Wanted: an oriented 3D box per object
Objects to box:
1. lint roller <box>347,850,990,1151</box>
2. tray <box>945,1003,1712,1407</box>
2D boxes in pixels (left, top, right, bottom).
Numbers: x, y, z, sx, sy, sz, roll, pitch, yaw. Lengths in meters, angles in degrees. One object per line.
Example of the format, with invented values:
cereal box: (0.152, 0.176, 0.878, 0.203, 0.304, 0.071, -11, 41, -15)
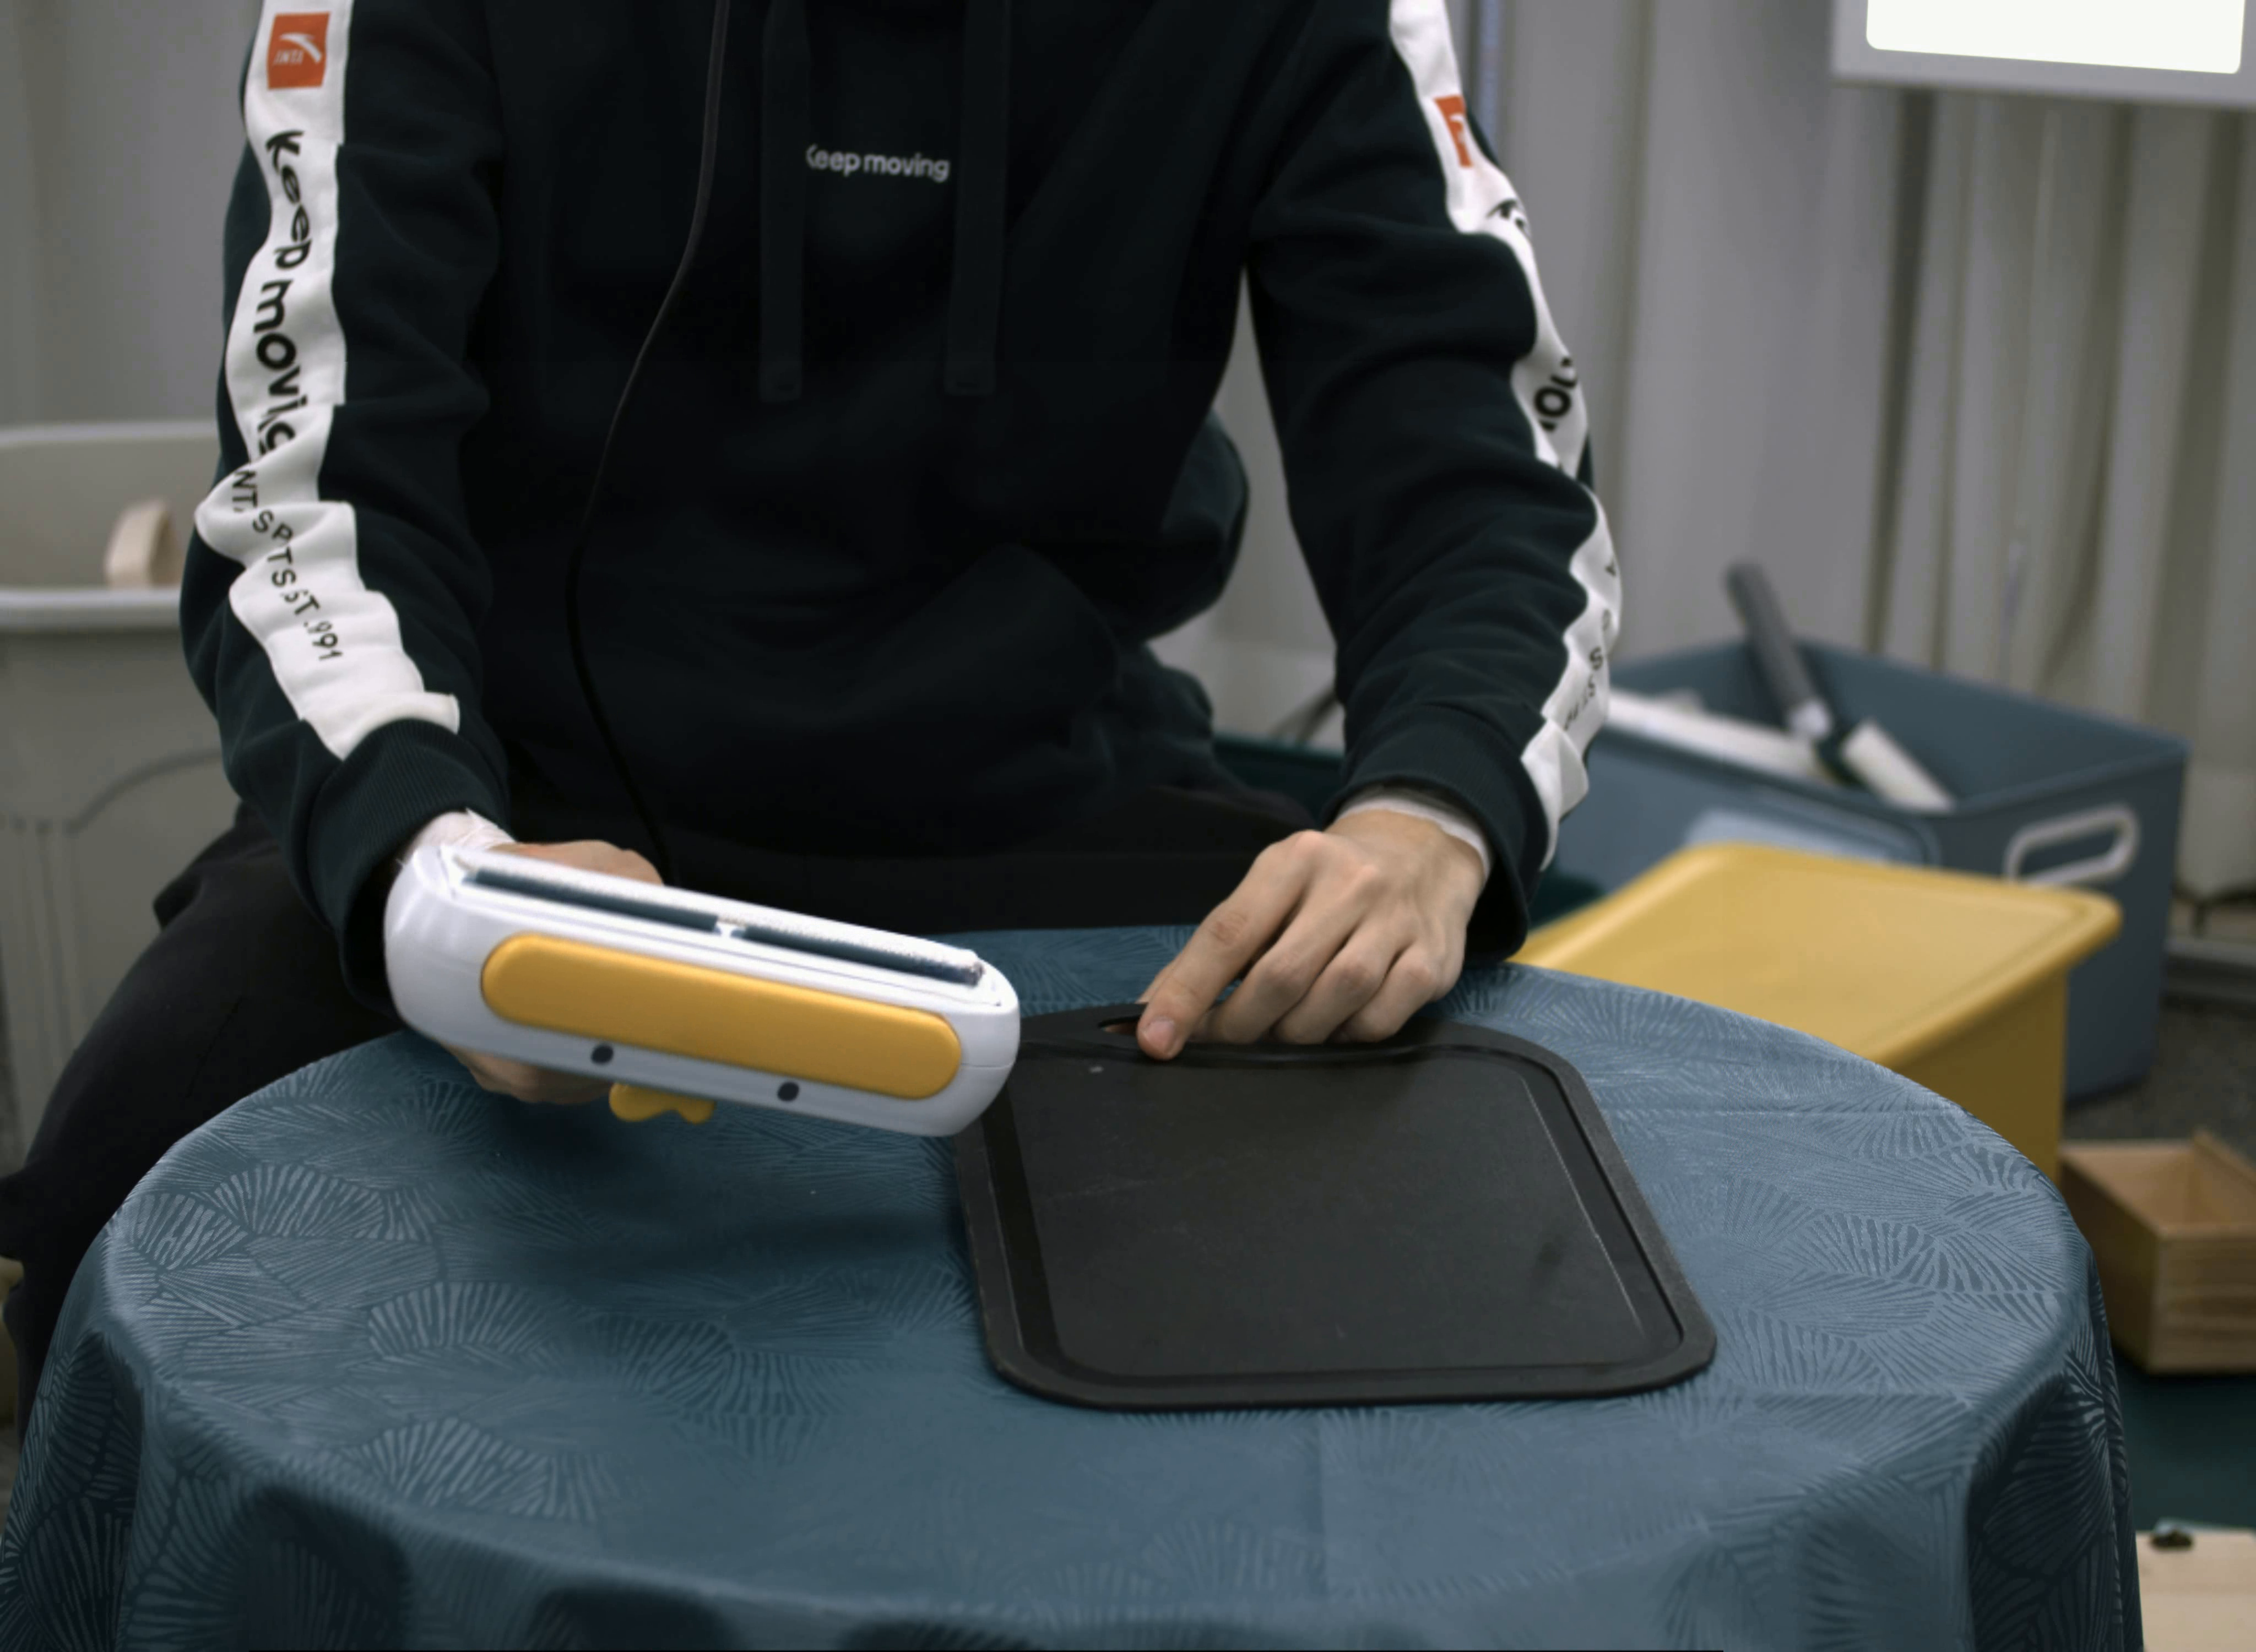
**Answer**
lint roller: (-0.149, 0.061, 1.606, 0.193, 0.074, 0.191, 11, -5, -13)
tray: (0.051, 0.108, 1.601, 0.211, 0.010, 0.323, 0, 18, -6)
